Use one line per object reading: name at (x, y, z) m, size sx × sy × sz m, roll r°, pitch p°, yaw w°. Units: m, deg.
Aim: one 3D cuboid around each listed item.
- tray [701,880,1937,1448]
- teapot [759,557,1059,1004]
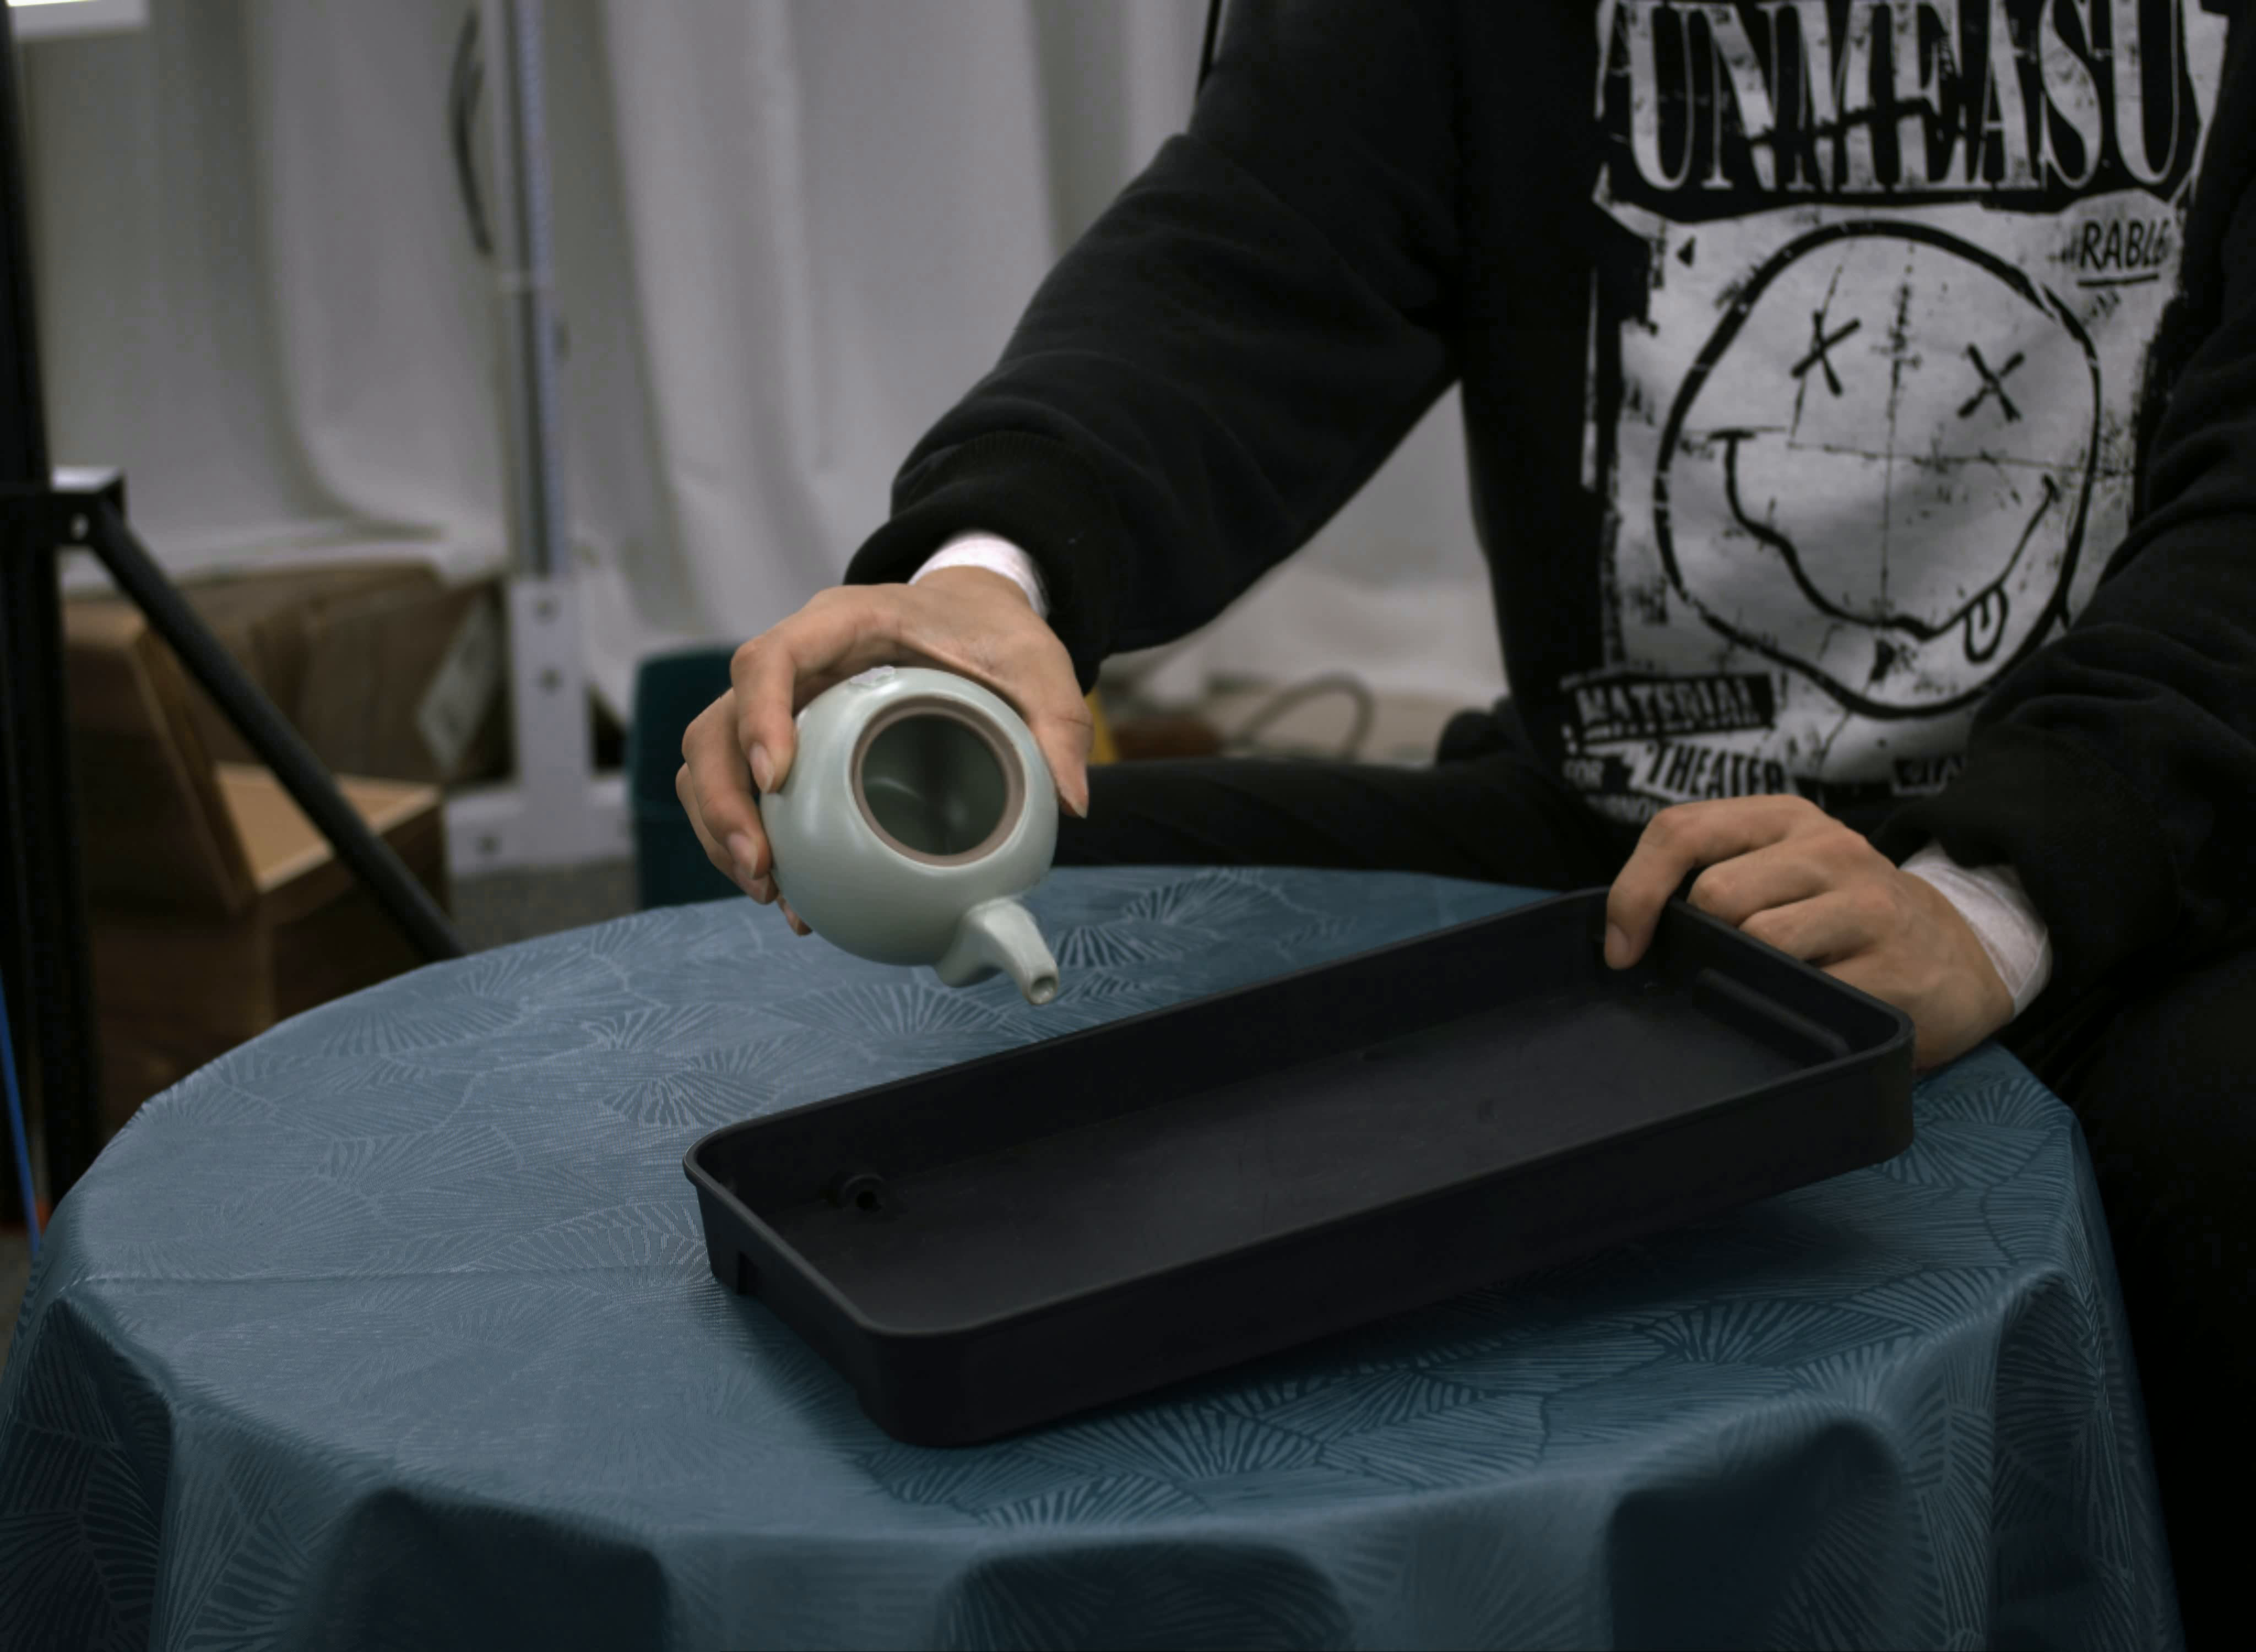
tray at (0.054, 0.089, 1.488) m, size 0.312 × 0.037 × 0.188 m, roll -16°, pitch 19°, yaw -20°
teapot at (-0.063, -0.005, 1.552) m, size 0.087 × 0.145 × 0.075 m, roll -19°, pitch -11°, yaw -24°
